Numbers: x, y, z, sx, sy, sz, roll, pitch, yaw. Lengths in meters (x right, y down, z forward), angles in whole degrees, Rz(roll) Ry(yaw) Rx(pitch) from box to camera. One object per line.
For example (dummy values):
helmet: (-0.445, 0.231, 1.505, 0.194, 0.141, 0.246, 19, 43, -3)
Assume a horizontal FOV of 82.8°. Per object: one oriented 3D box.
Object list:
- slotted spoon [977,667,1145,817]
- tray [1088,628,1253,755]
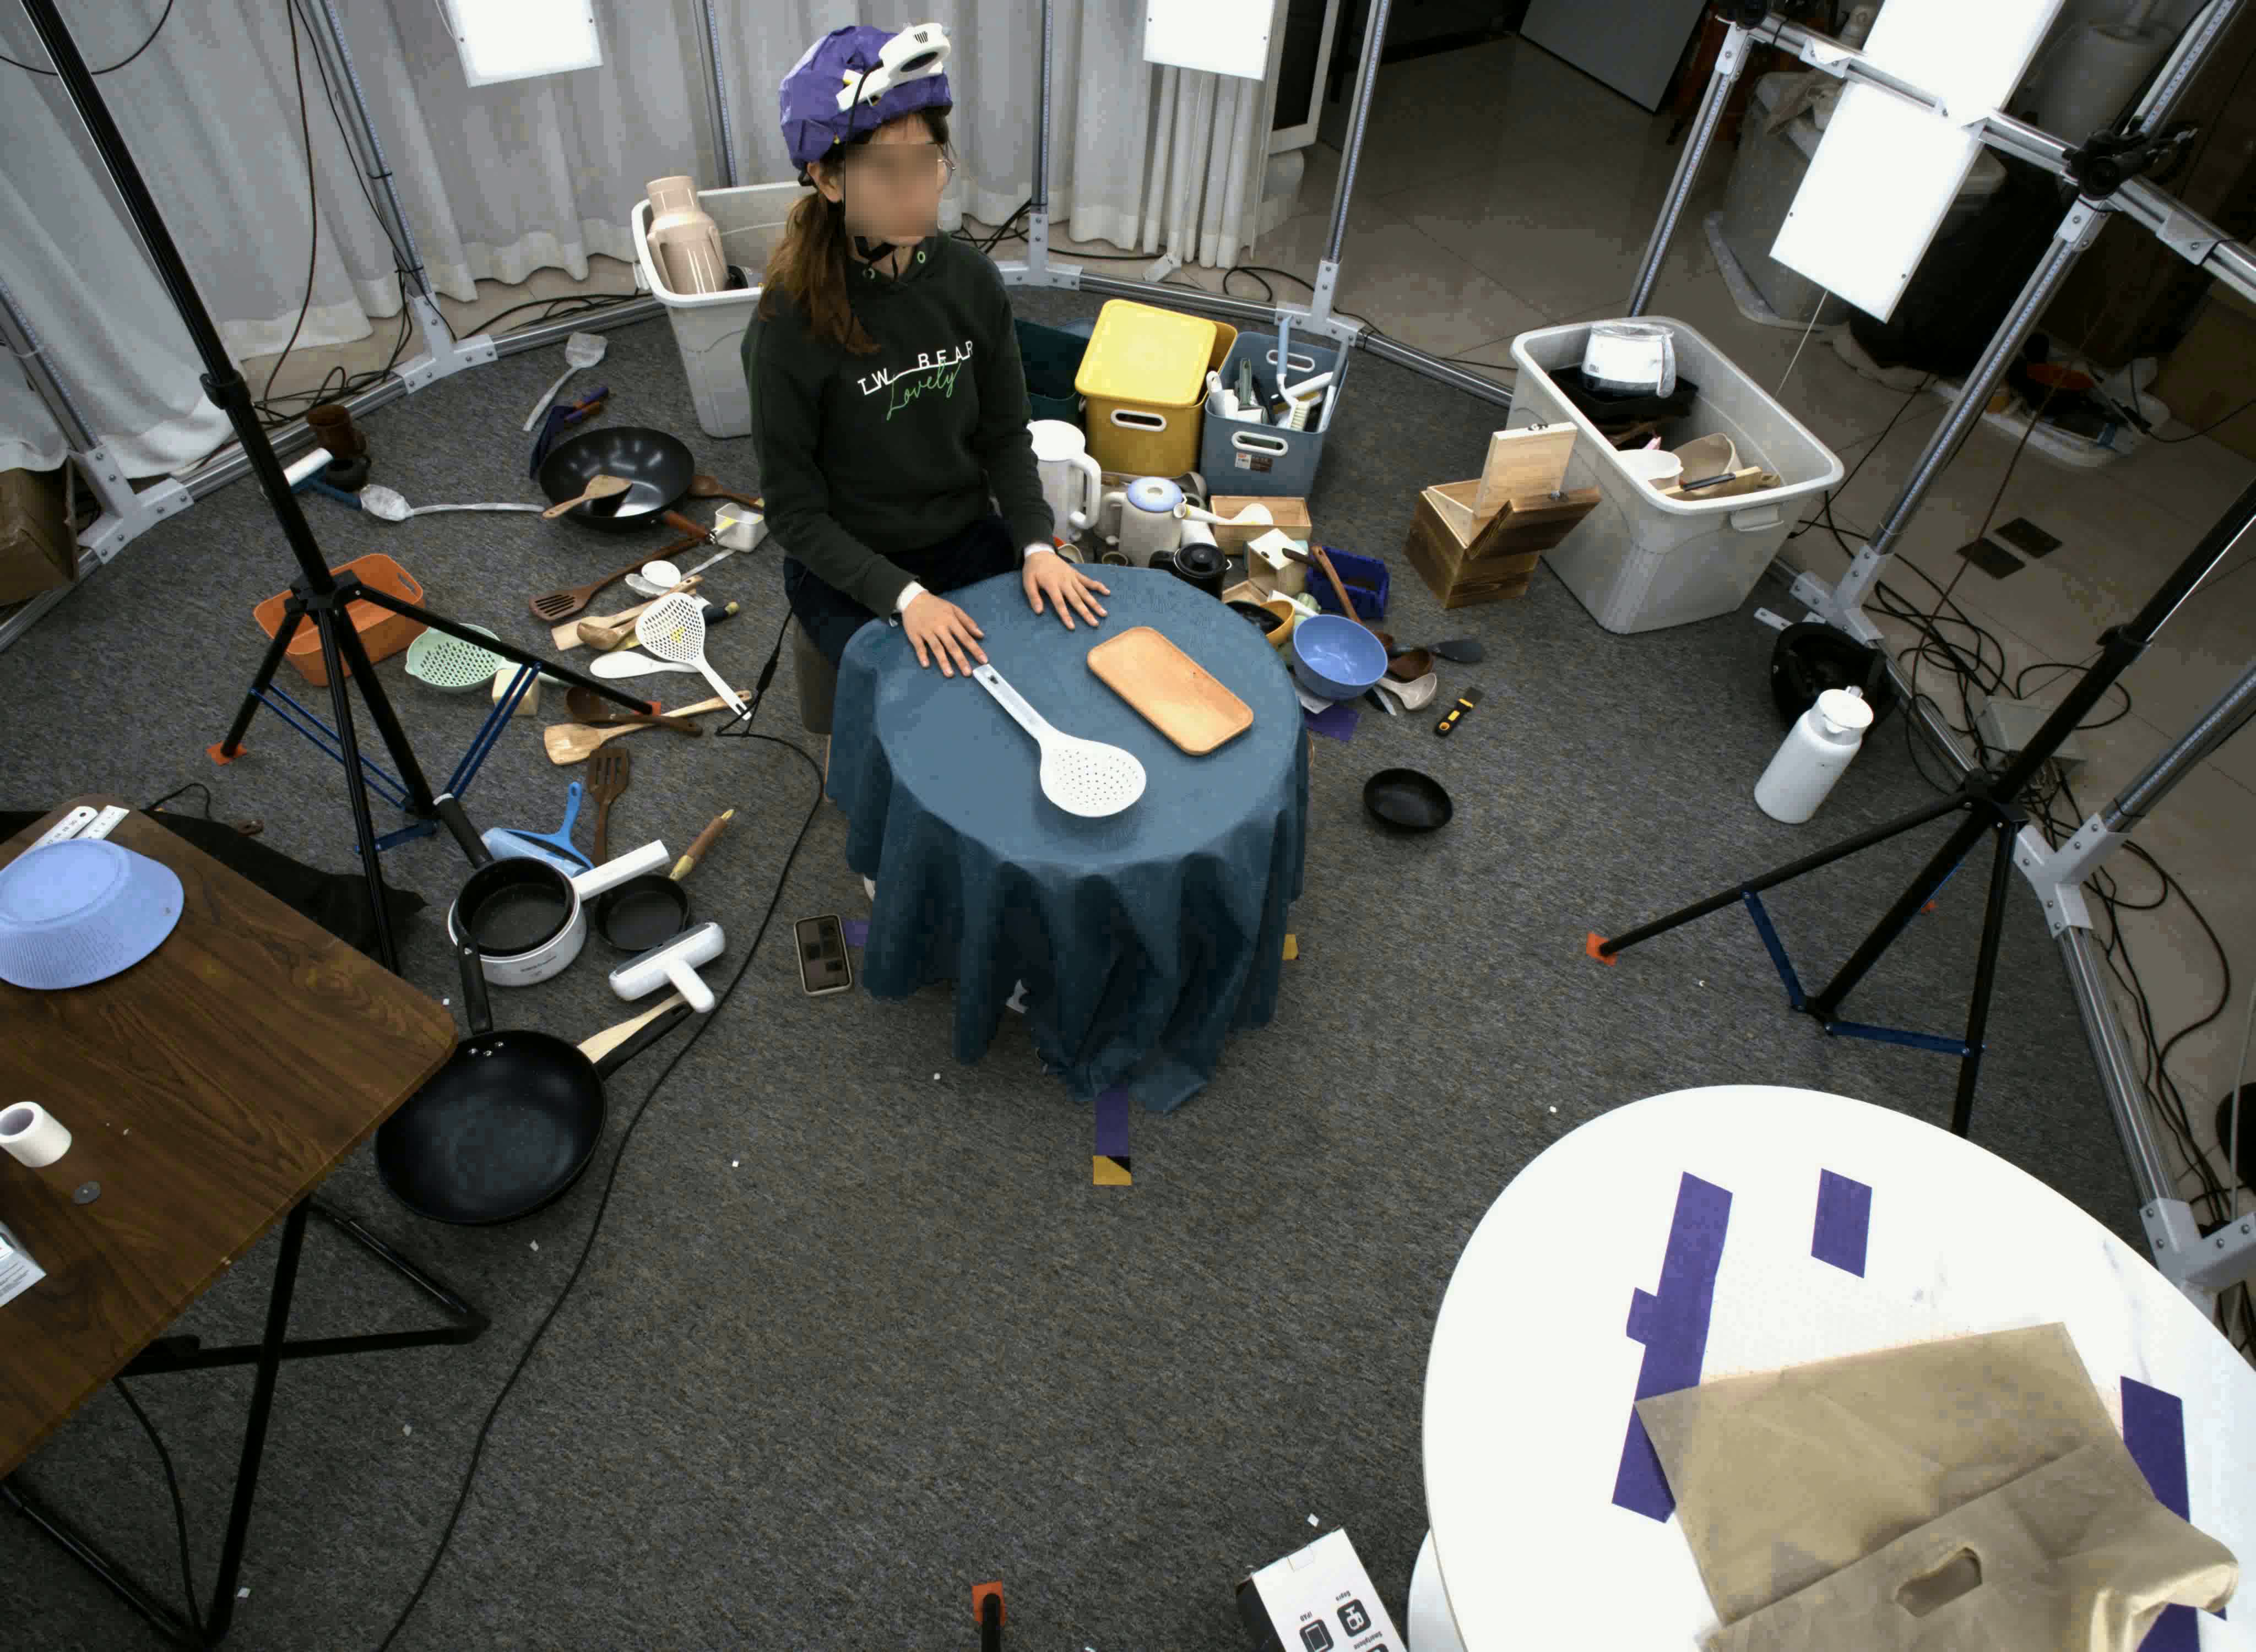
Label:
slotted spoon: (-0.108, -0.120, 1.752, 0.136, 0.044, 0.356, -24, 54, -25)
tray: (0.059, -0.196, 1.848, 0.131, 0.022, 0.255, -29, 56, -28)
